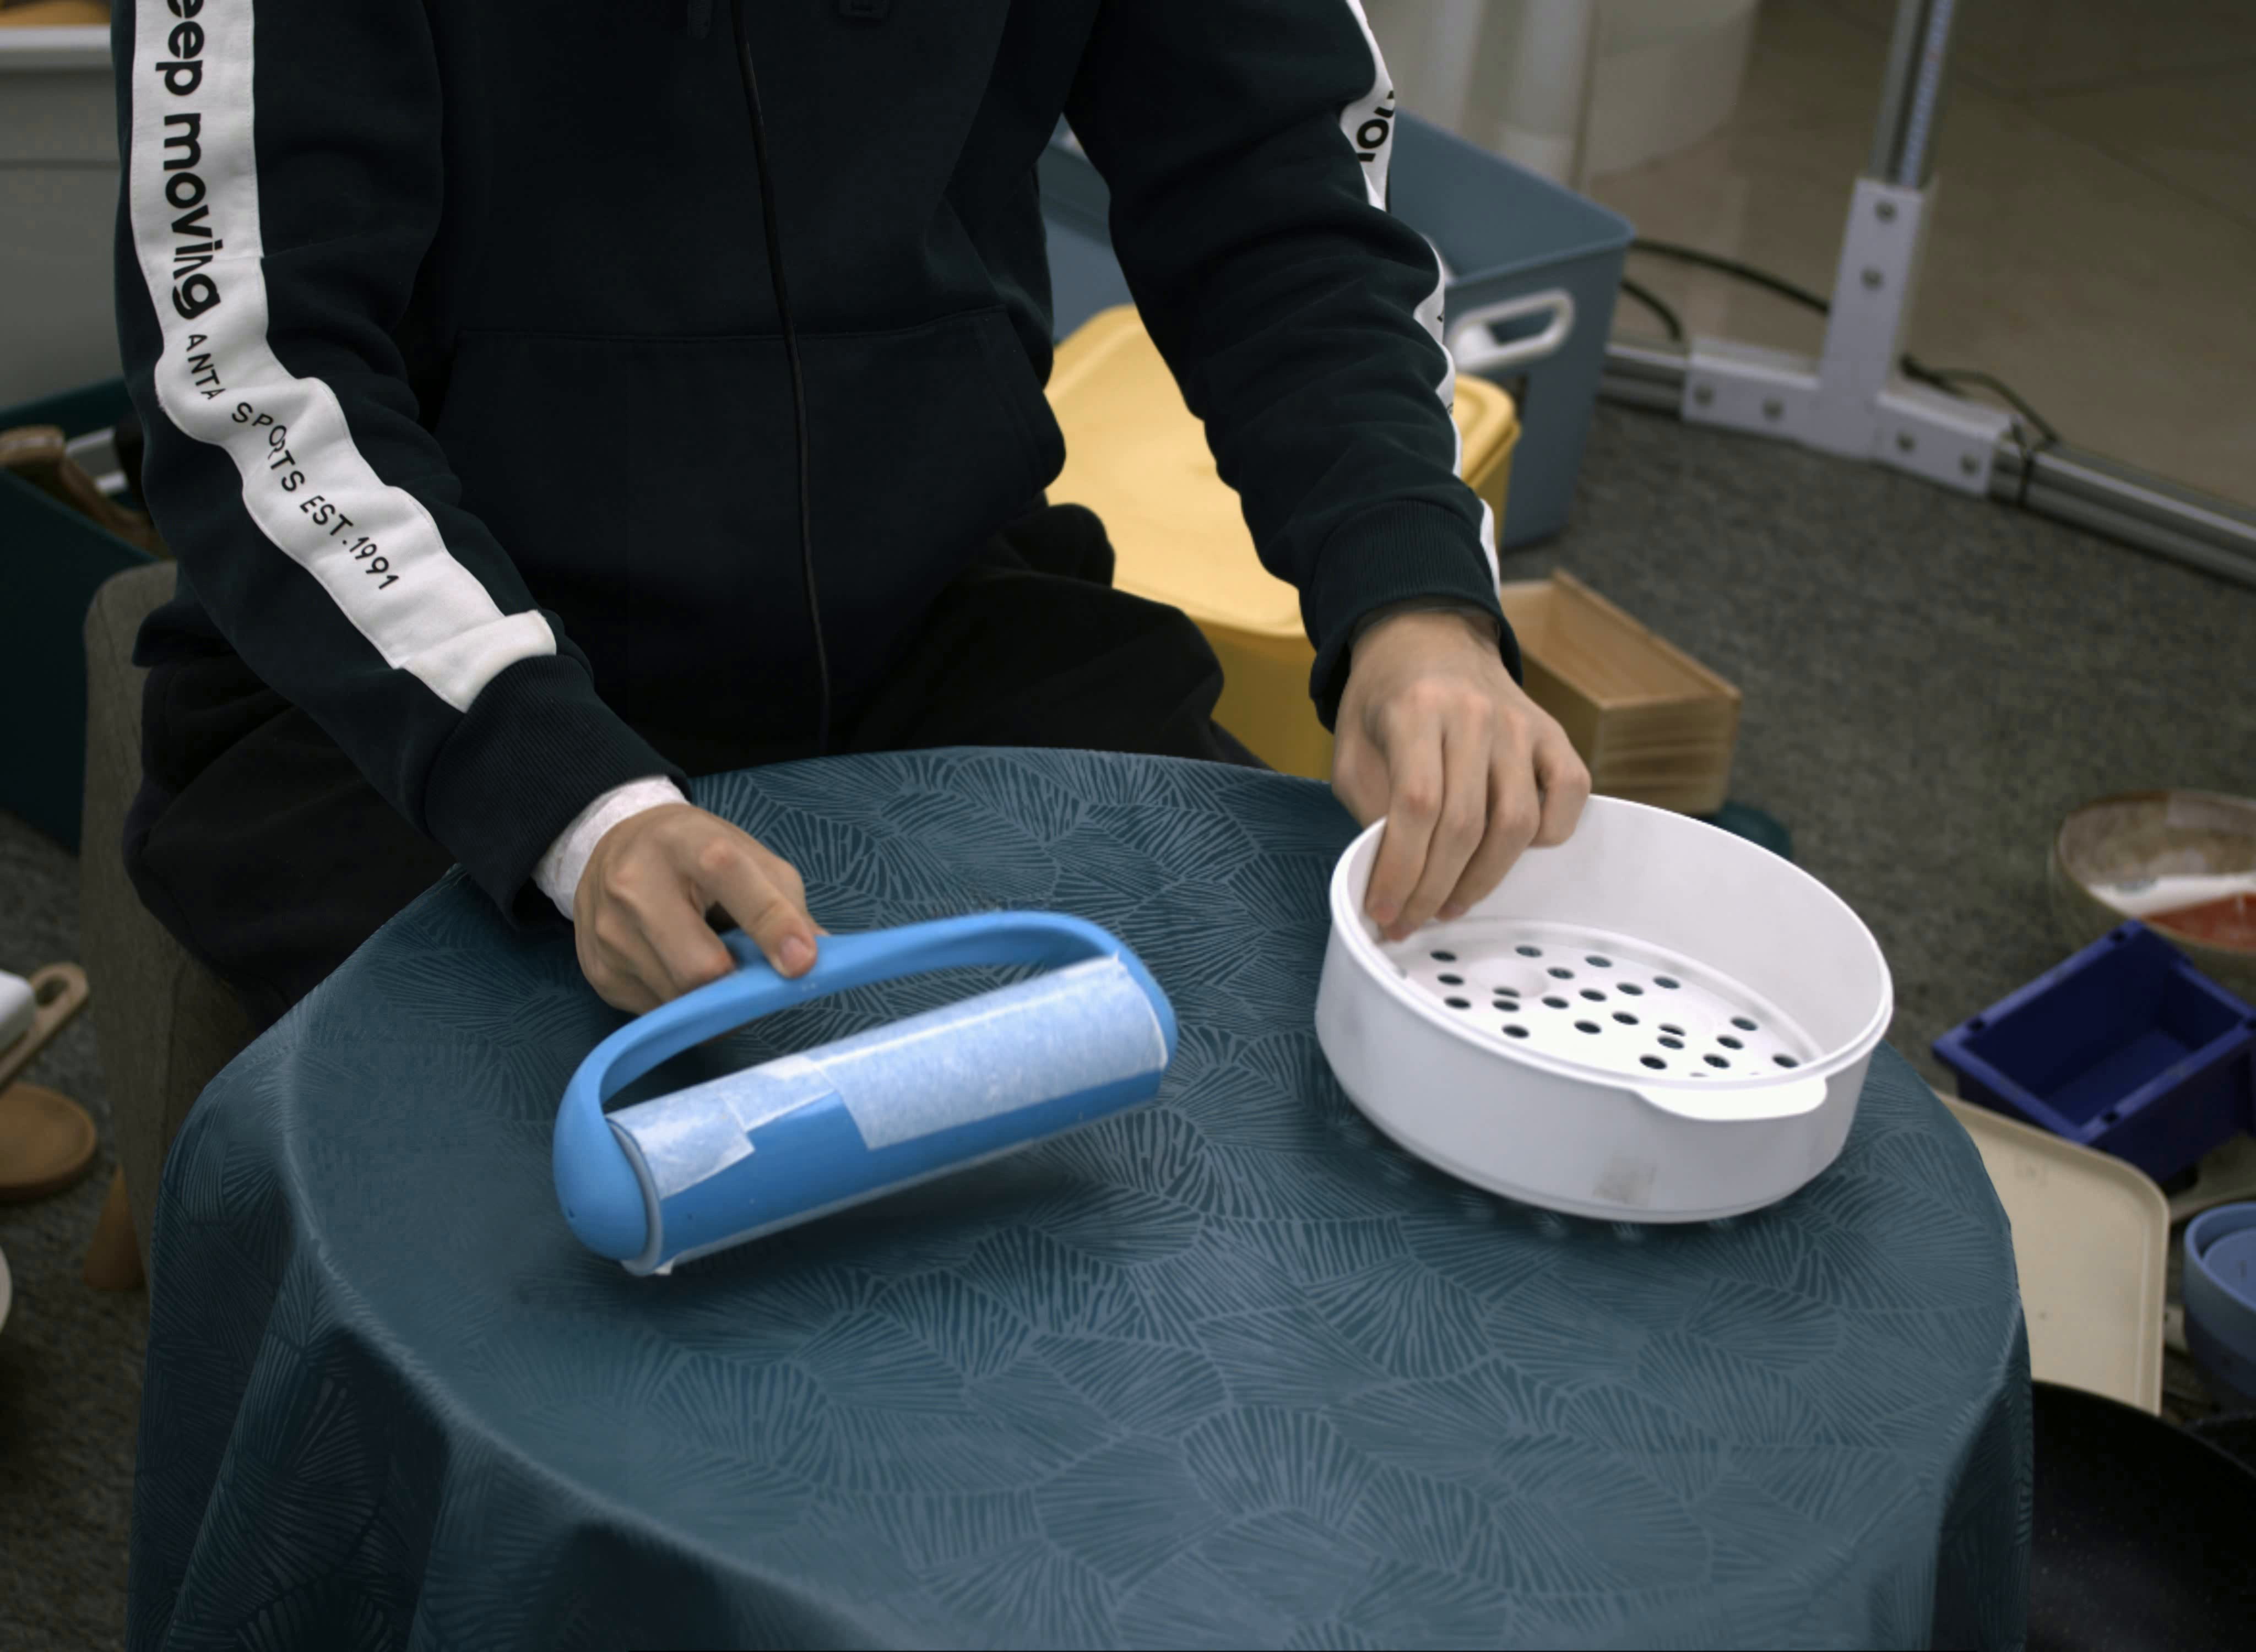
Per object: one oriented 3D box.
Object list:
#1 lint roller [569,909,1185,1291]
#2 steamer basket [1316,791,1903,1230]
[{"bbox_3d":[-0.114,0.072,1.783,0.228,0.067,0.182,-22,35,-31],"label":"lint roller"},{"bbox_3d":[0.166,0.066,1.861,0.200,0.069,0.232,0,28,-24],"label":"steamer basket"}]
